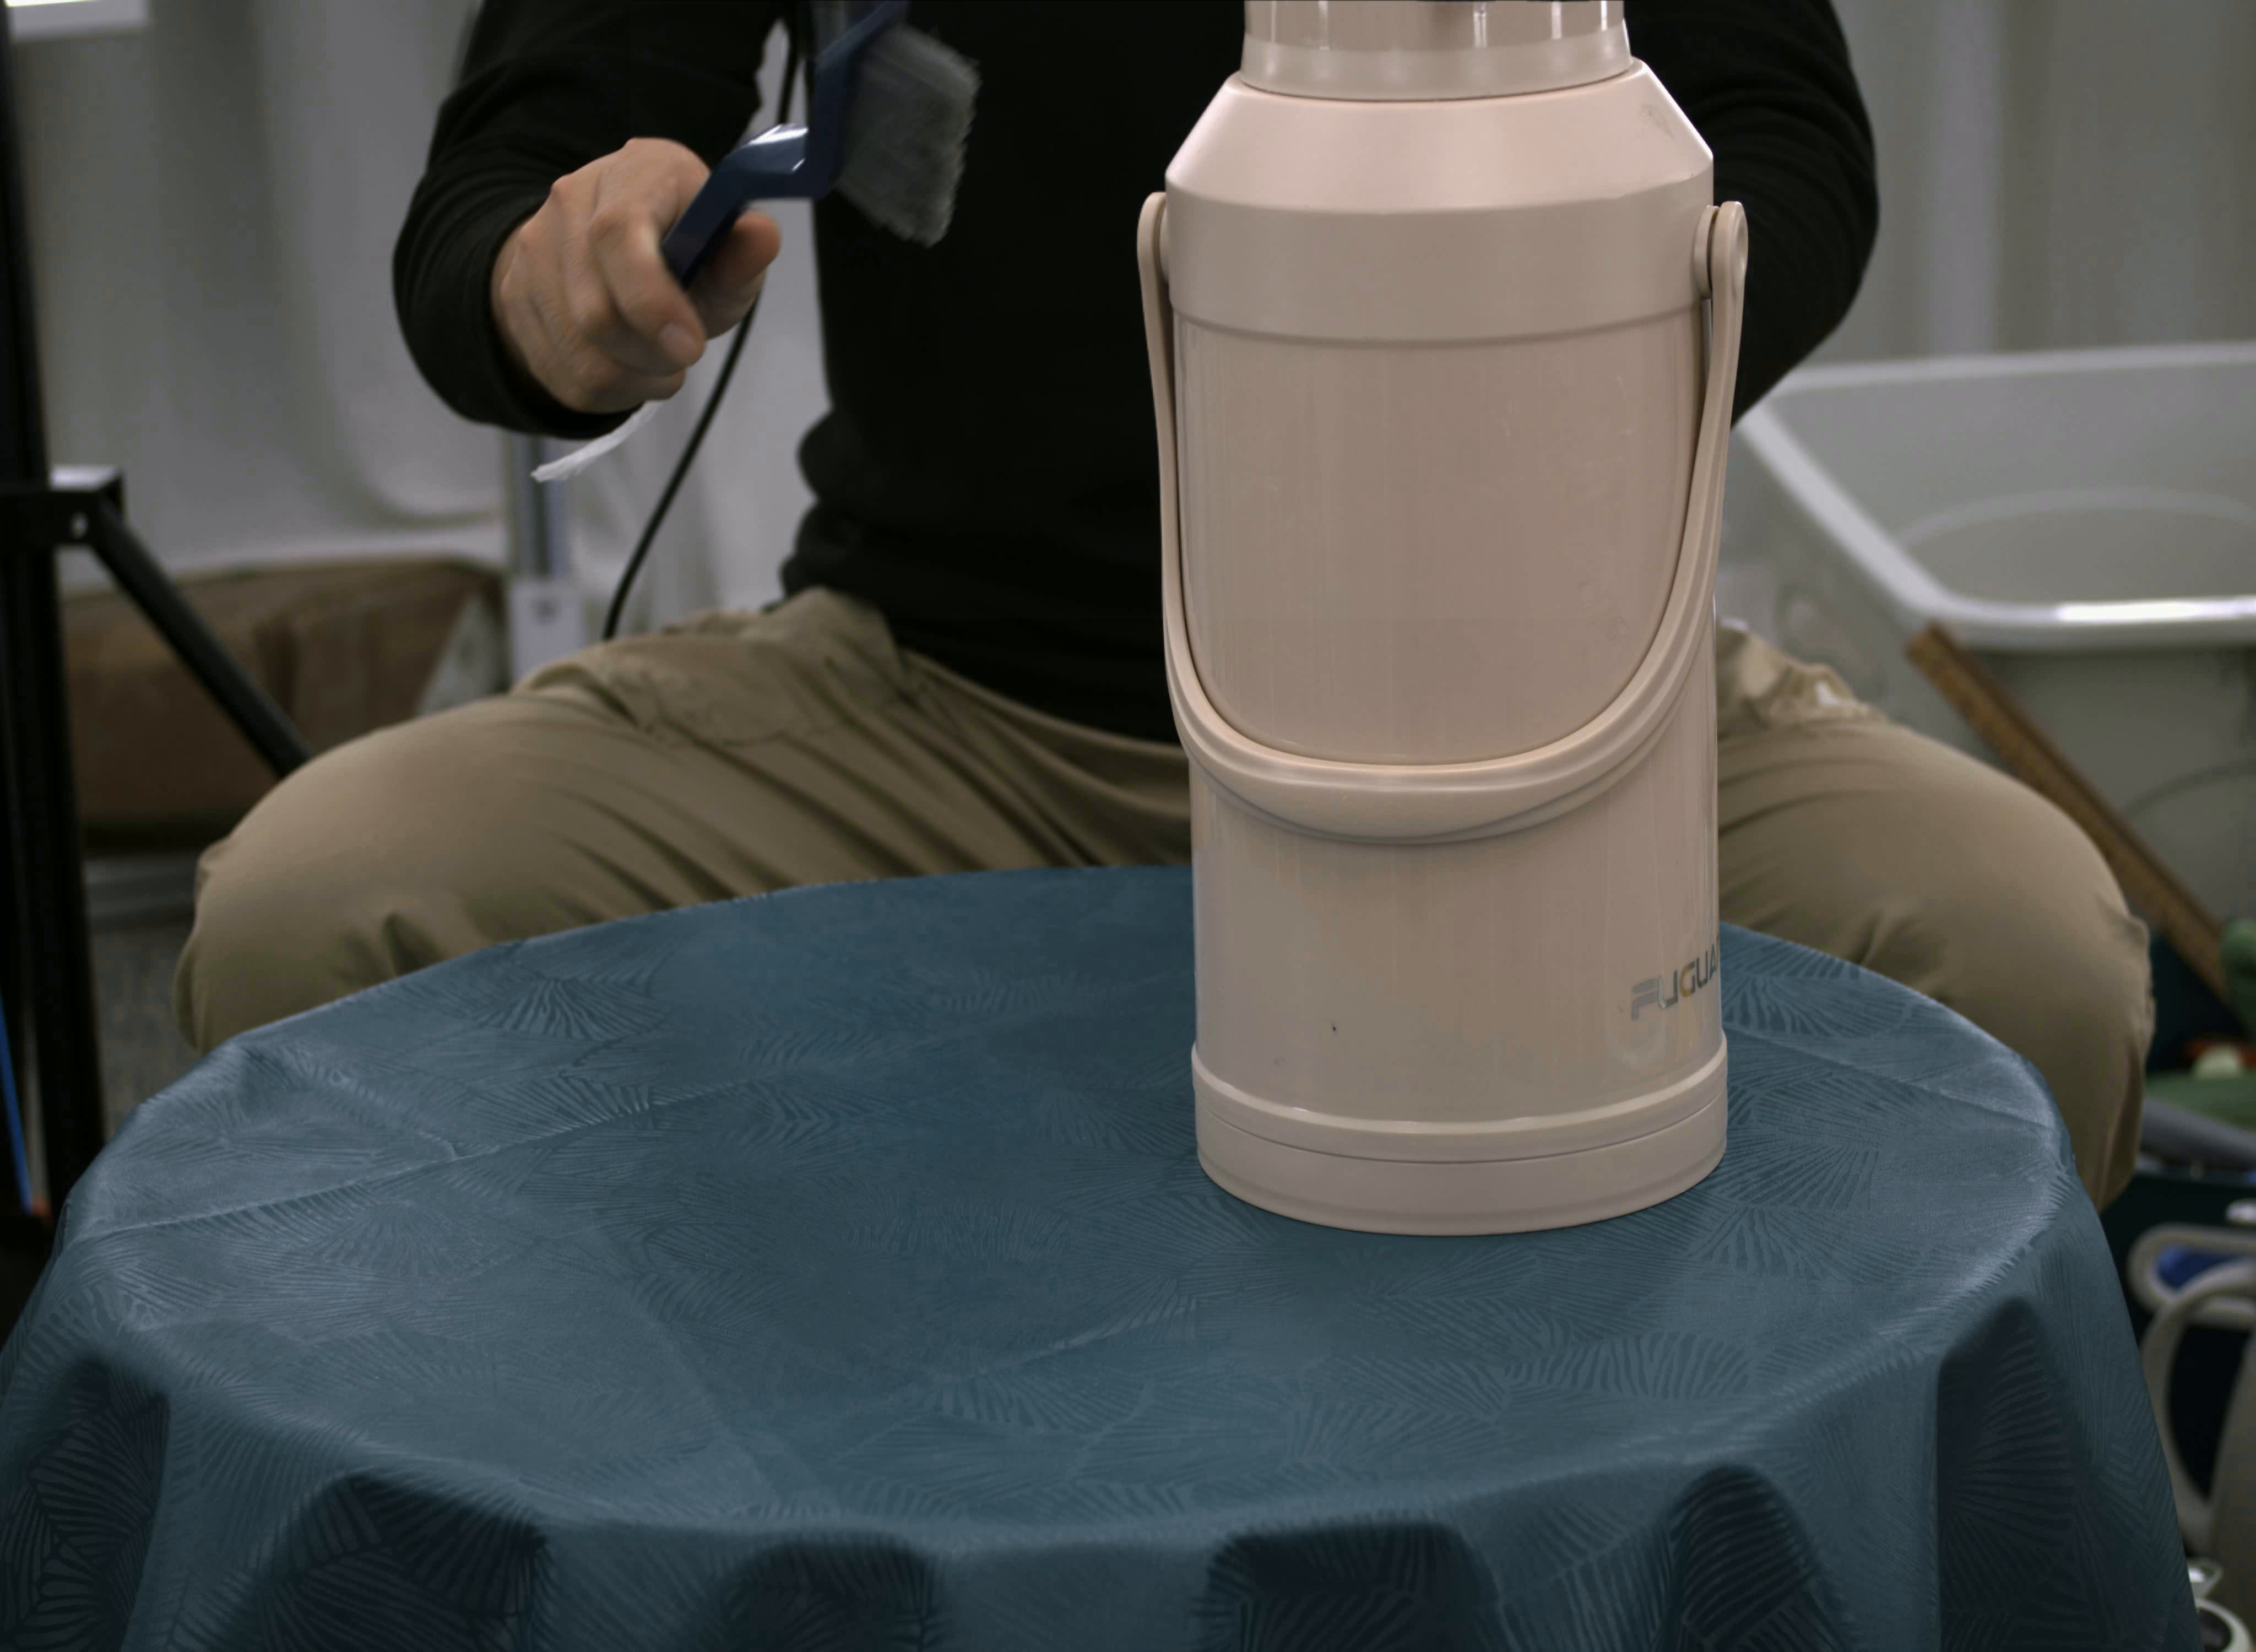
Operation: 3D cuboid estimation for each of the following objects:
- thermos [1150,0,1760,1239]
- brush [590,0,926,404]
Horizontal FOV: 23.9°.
[{"bbox_3d":[0.101,-0.098,1.544,0.177,0.406,0.205,2,16,19],"label":"thermos"},{"bbox_3d":[-0.123,-0.193,1.597,0.033,0.095,0.277,-45,10,-26],"label":"brush"}]
